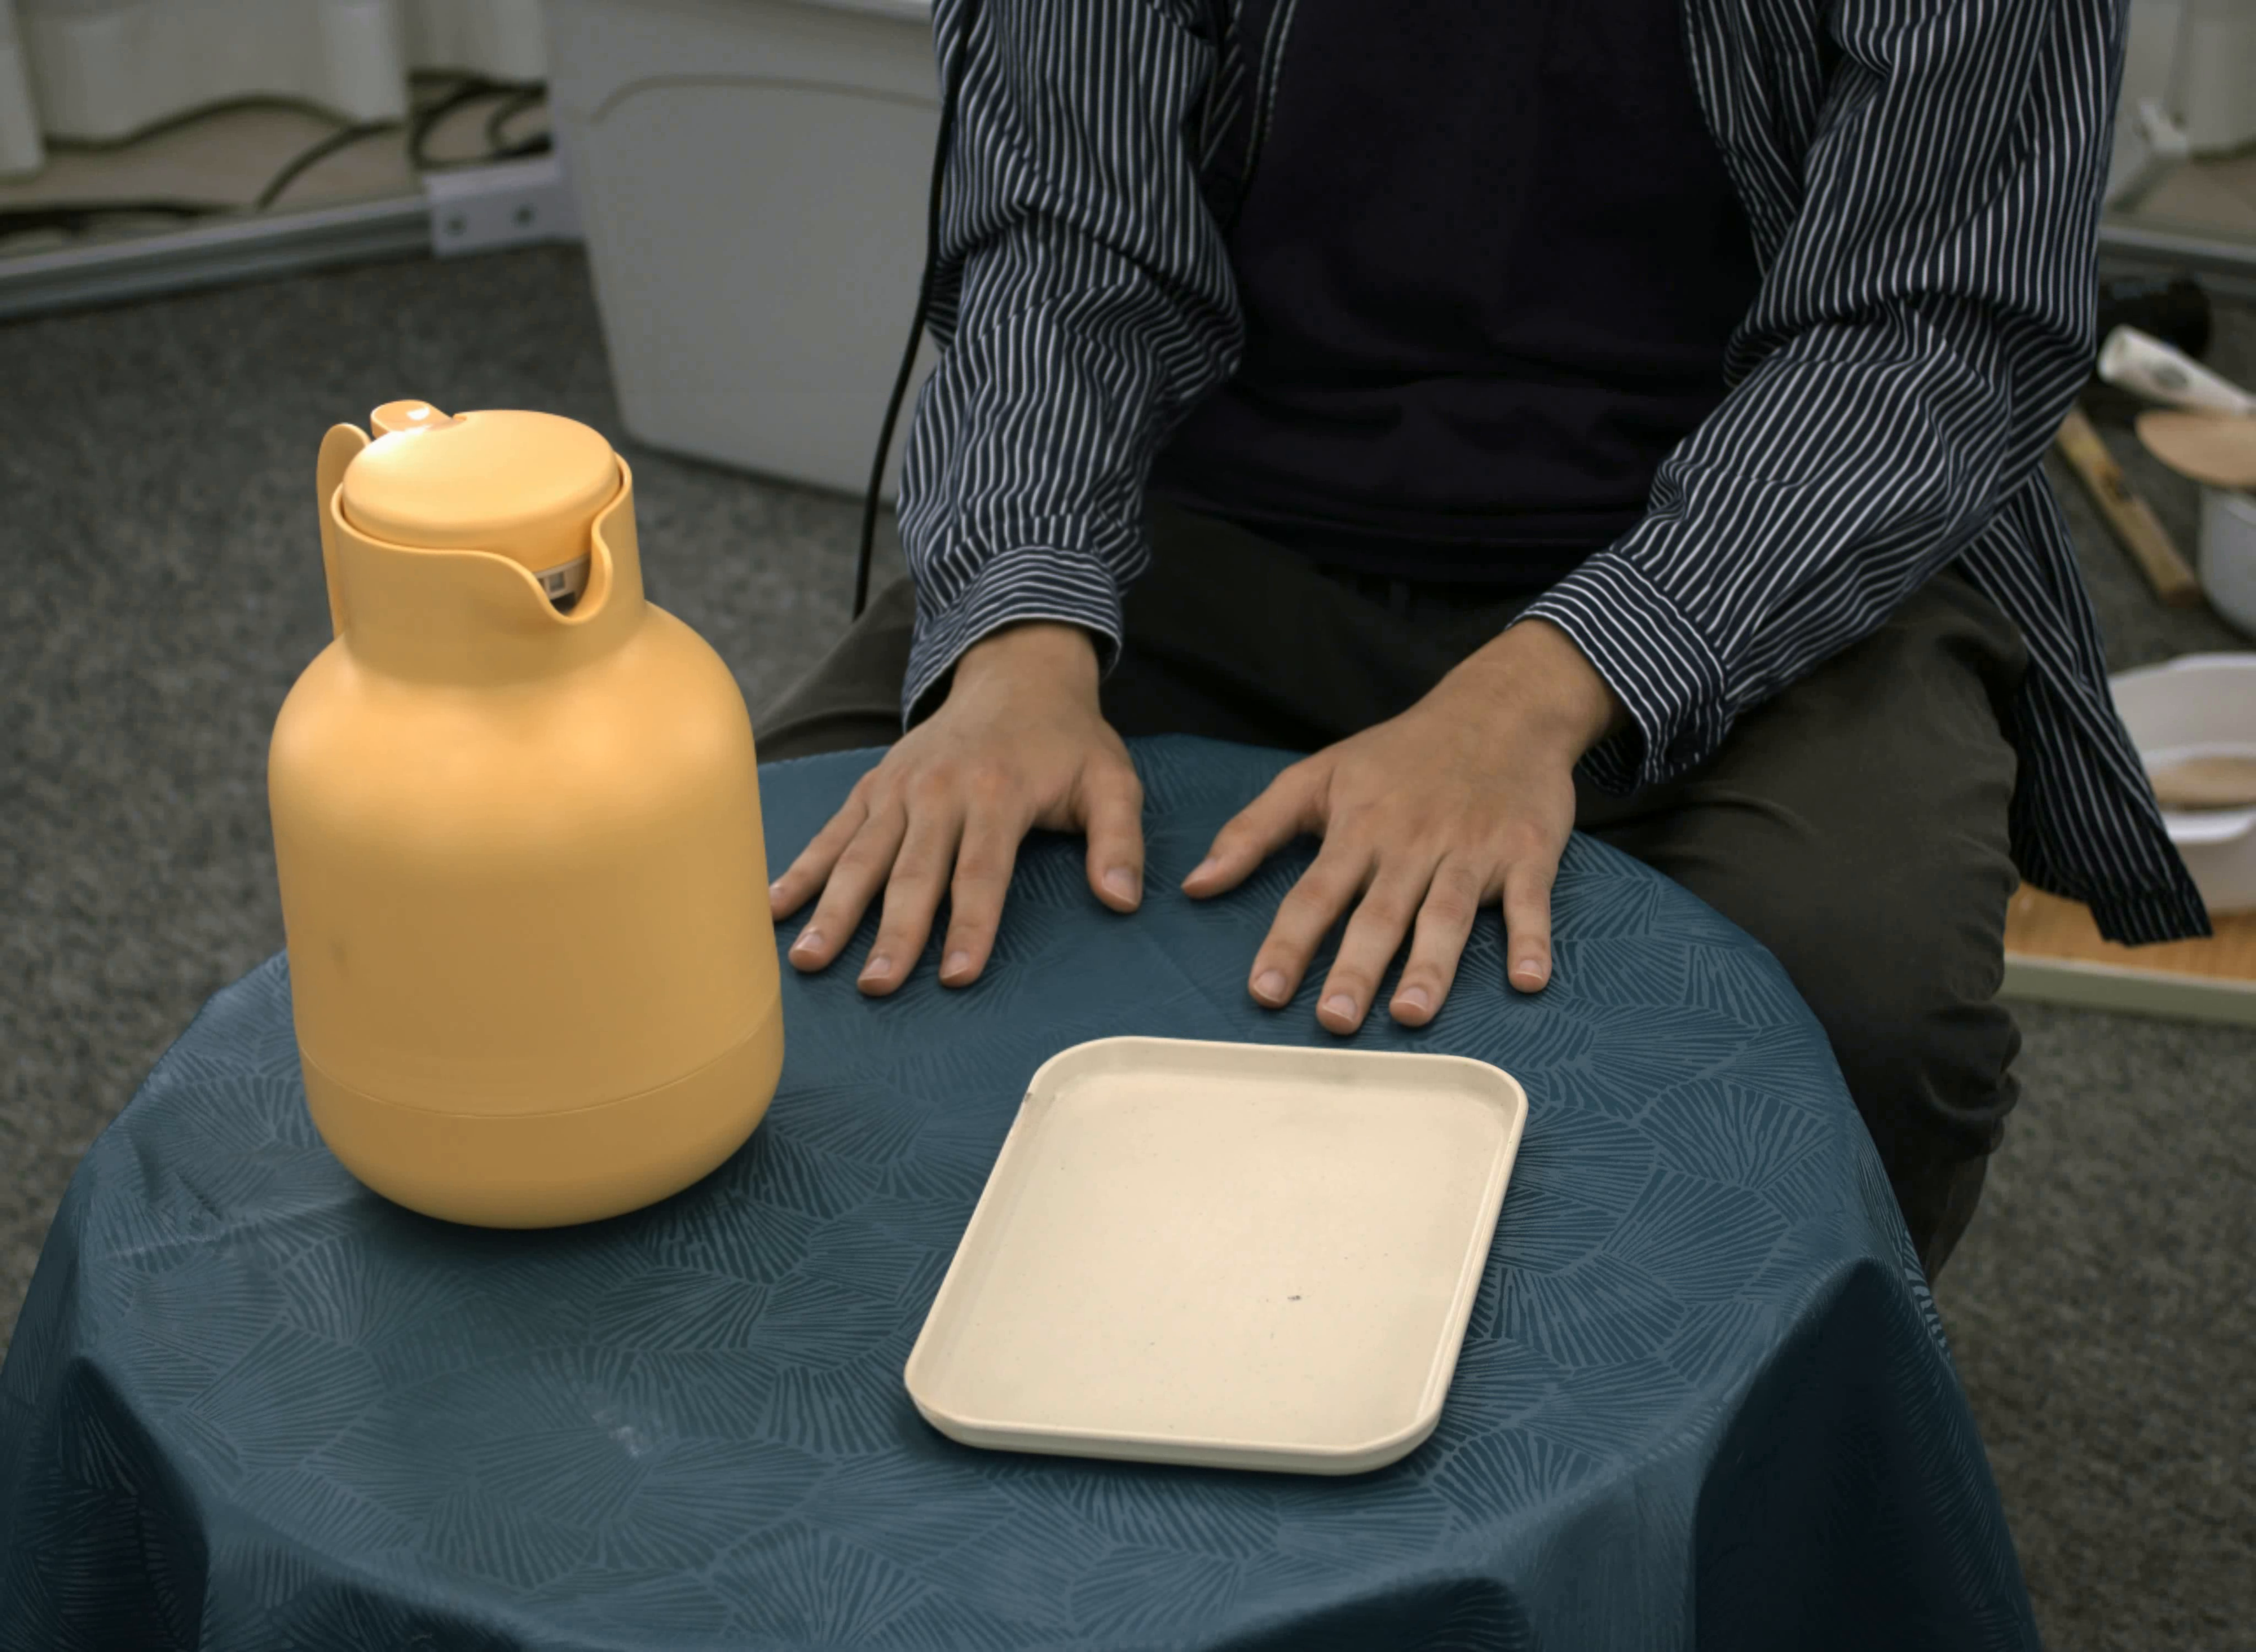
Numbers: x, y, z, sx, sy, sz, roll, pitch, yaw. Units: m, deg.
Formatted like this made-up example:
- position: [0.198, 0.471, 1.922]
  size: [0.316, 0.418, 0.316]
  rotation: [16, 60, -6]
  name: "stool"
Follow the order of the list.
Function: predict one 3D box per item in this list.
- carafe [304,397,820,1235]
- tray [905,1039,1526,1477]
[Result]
- position: [-0.197, -0.014, 1.858]
  size: [0.164, 0.258, 0.203]
  rotation: [-17, 30, -29]
  name: "carafe"
- position: [0.031, 0.137, 1.803]
  size: [0.170, 0.017, 0.244]
  rotation: [4, 28, 11]
  name: "tray"
